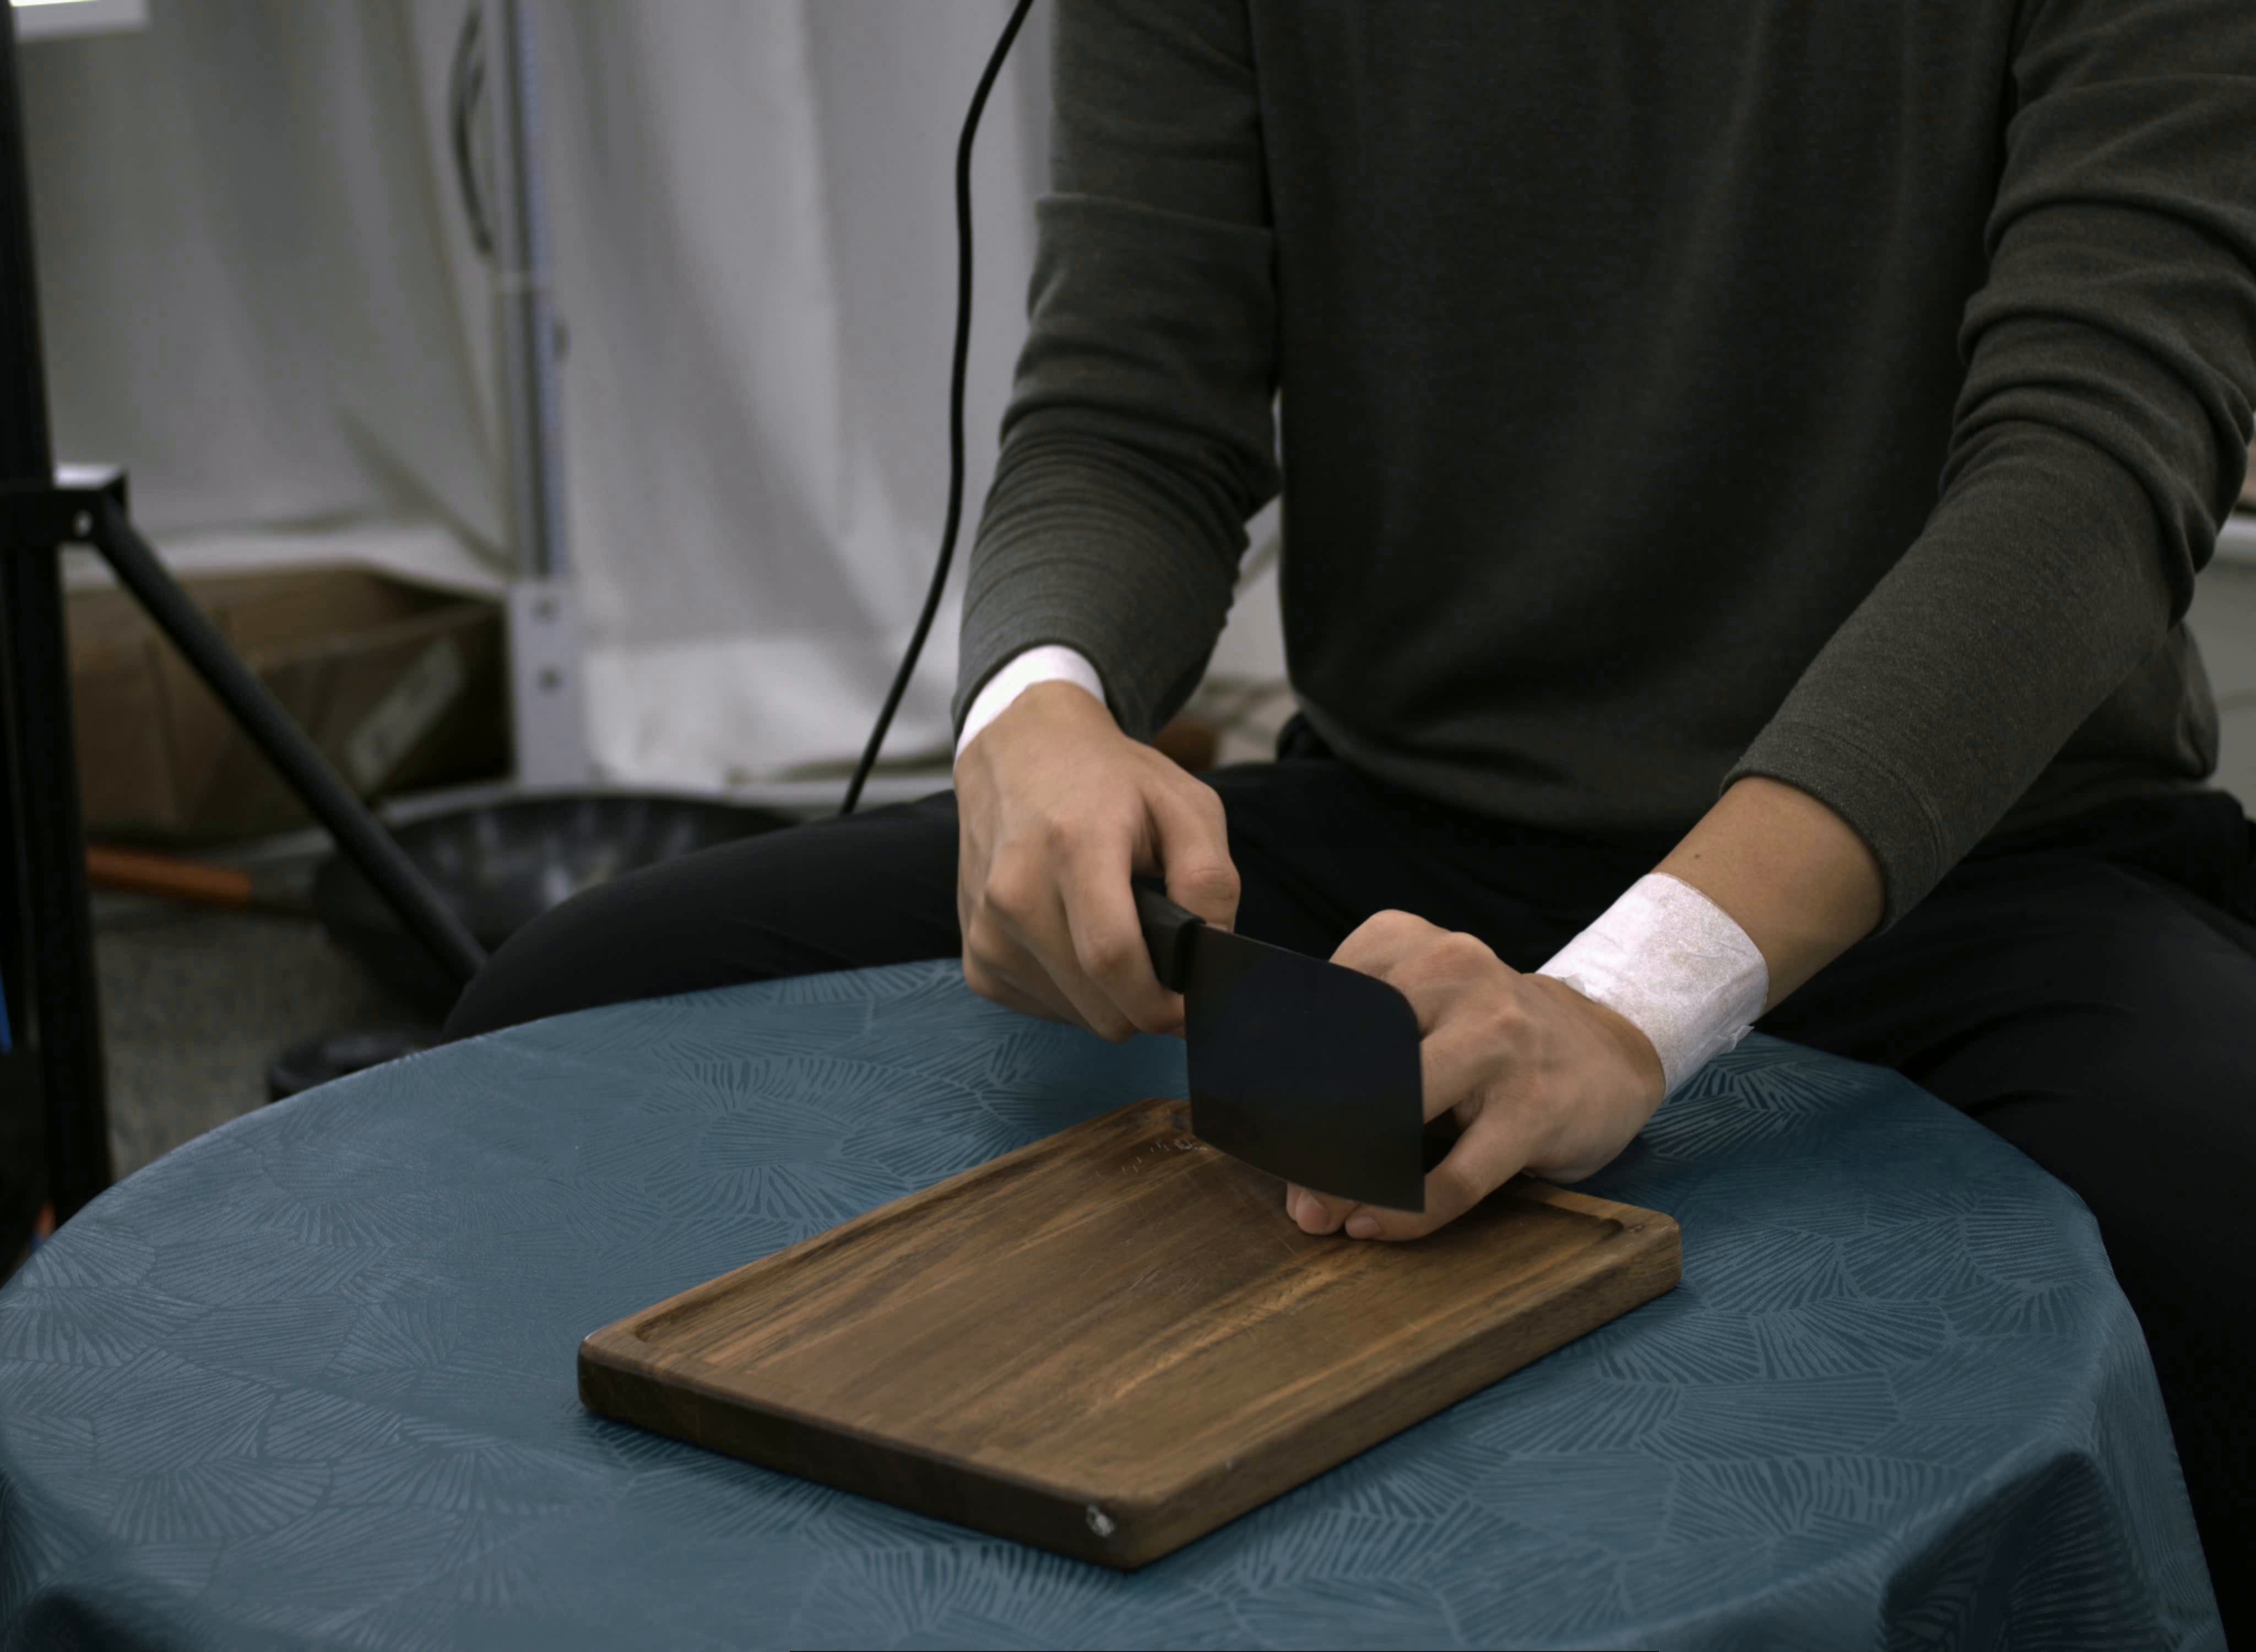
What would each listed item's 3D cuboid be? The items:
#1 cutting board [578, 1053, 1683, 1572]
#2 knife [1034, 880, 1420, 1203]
[{"bbox_3d":[0.035,0.120,1.475,0.205,0.023,0.344,11,21,38],"label":"cutting board"},{"bbox_3d":[0.027,0.057,1.524,0.020,0.081,0.307,-5,10,-18],"label":"knife"}]
